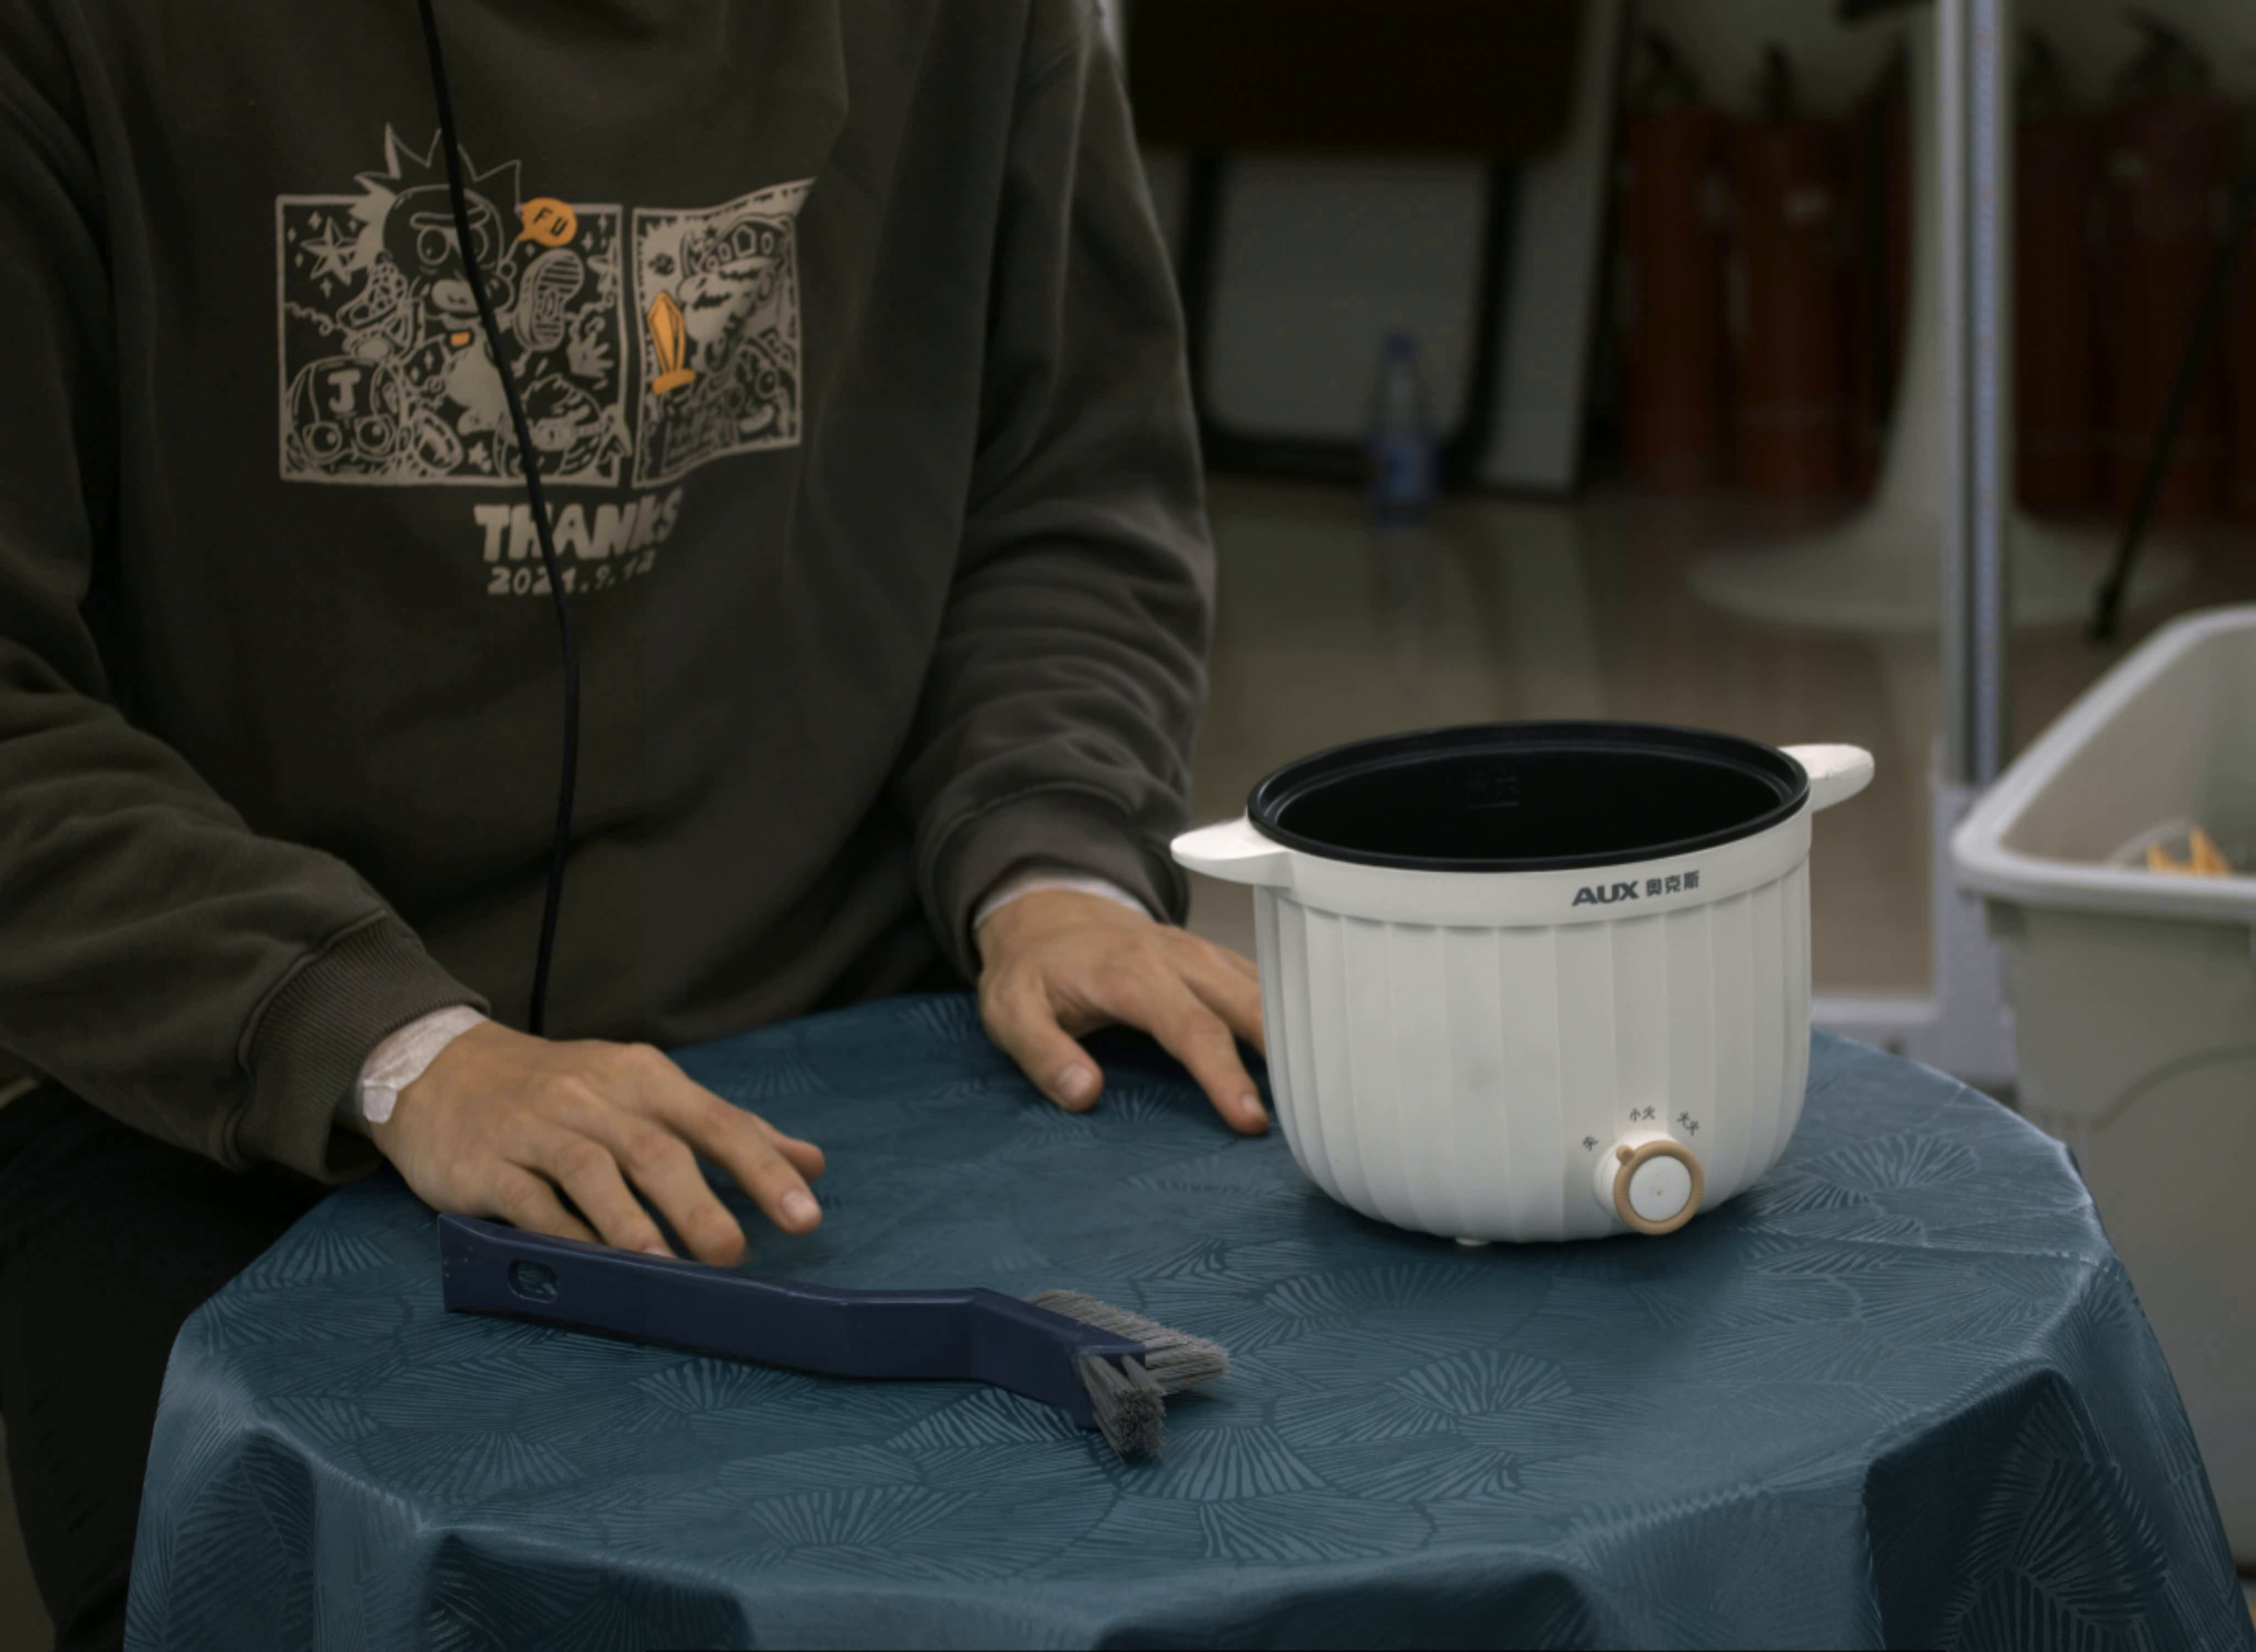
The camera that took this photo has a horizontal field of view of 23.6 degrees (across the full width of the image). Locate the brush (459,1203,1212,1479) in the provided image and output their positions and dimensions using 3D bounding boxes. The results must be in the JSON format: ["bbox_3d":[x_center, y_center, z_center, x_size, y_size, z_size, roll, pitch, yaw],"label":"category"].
[{"bbox_3d":[-0.101,0.151,1.617,0.274,0.034,0.094,4,16,28],"label":"brush"}]

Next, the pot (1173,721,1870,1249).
[{"bbox_3d":[0.134,0.052,1.725,0.236,0.144,0.192,-9,11,-16],"label":"pot"}]
